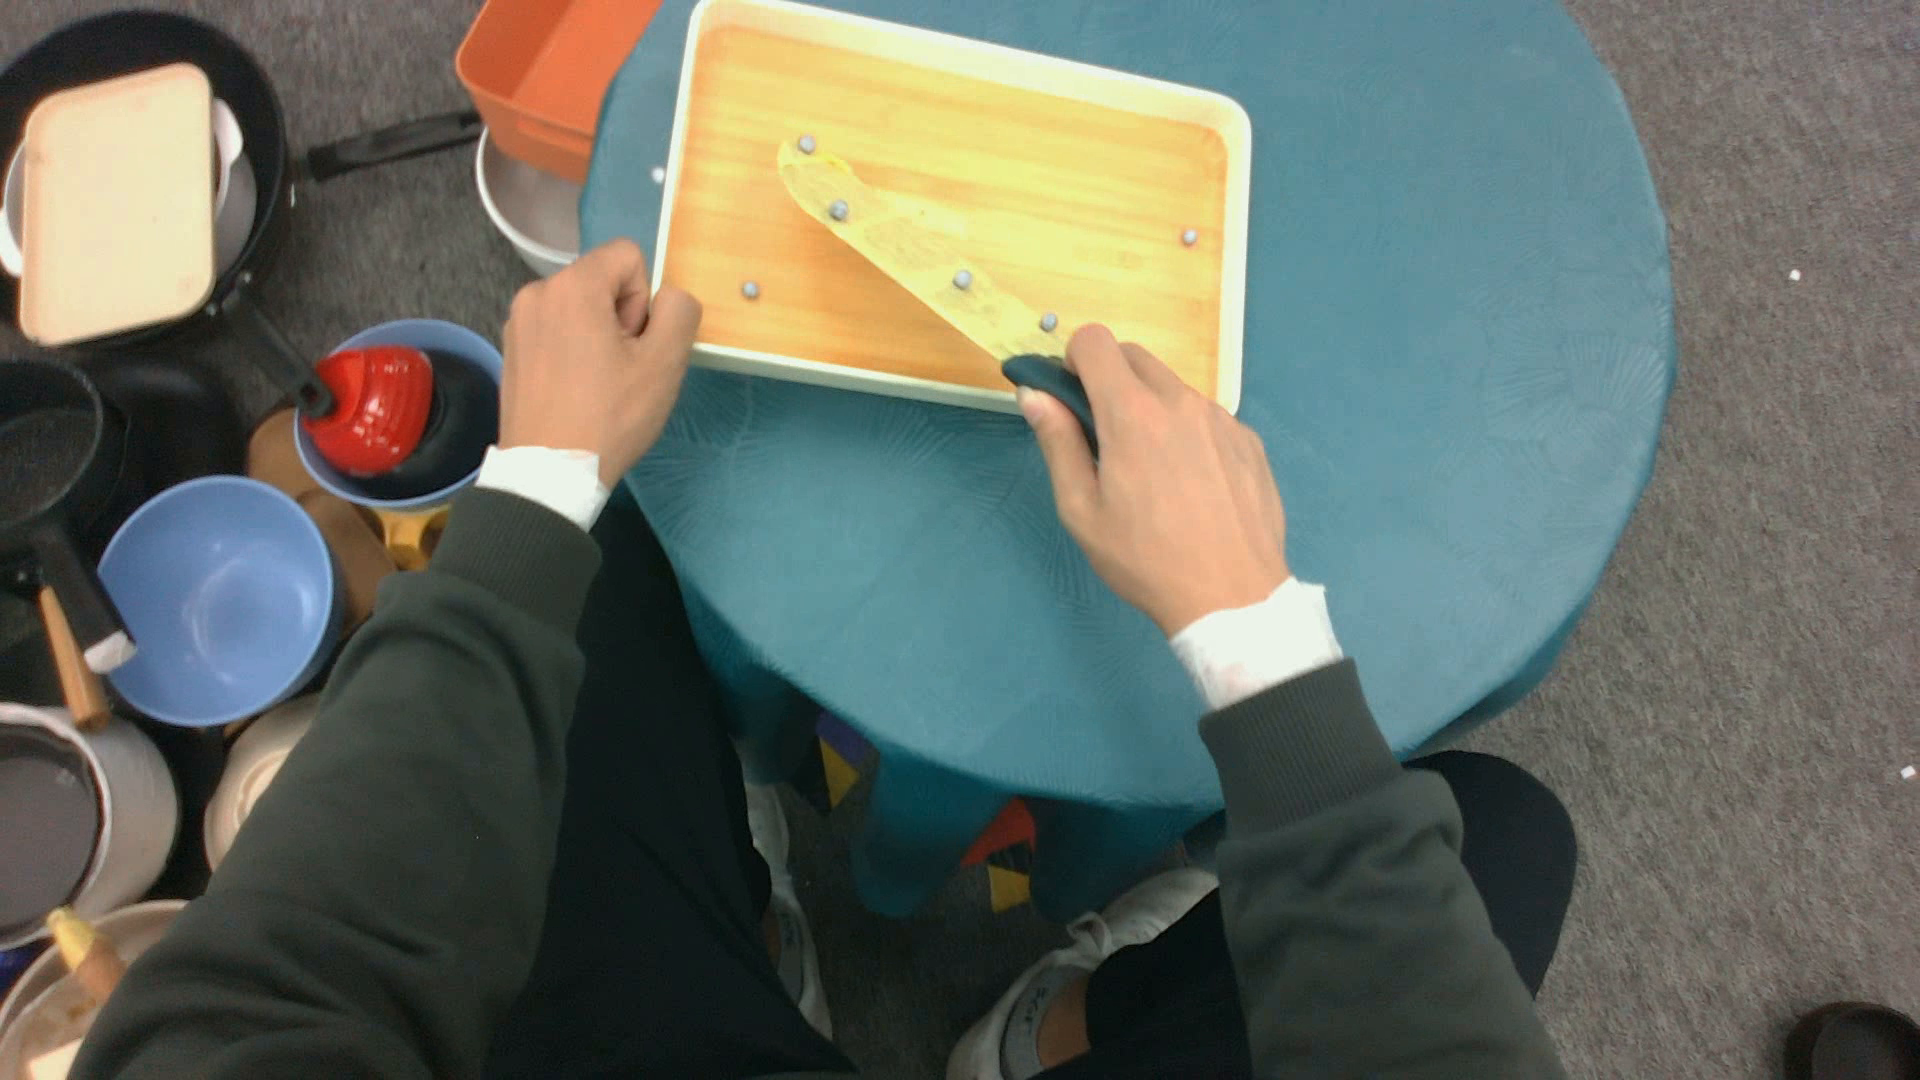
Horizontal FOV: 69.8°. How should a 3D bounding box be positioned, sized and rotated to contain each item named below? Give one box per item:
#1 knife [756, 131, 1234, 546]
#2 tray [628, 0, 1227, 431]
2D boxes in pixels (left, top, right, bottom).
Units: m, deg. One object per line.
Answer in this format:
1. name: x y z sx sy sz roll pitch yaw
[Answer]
1. knife: 0.014 -0.099 0.636 0.289 0.027 0.081 41 32 7
2. tray: -0.008 -0.166 0.710 0.300 0.027 0.192 7 75 -12
